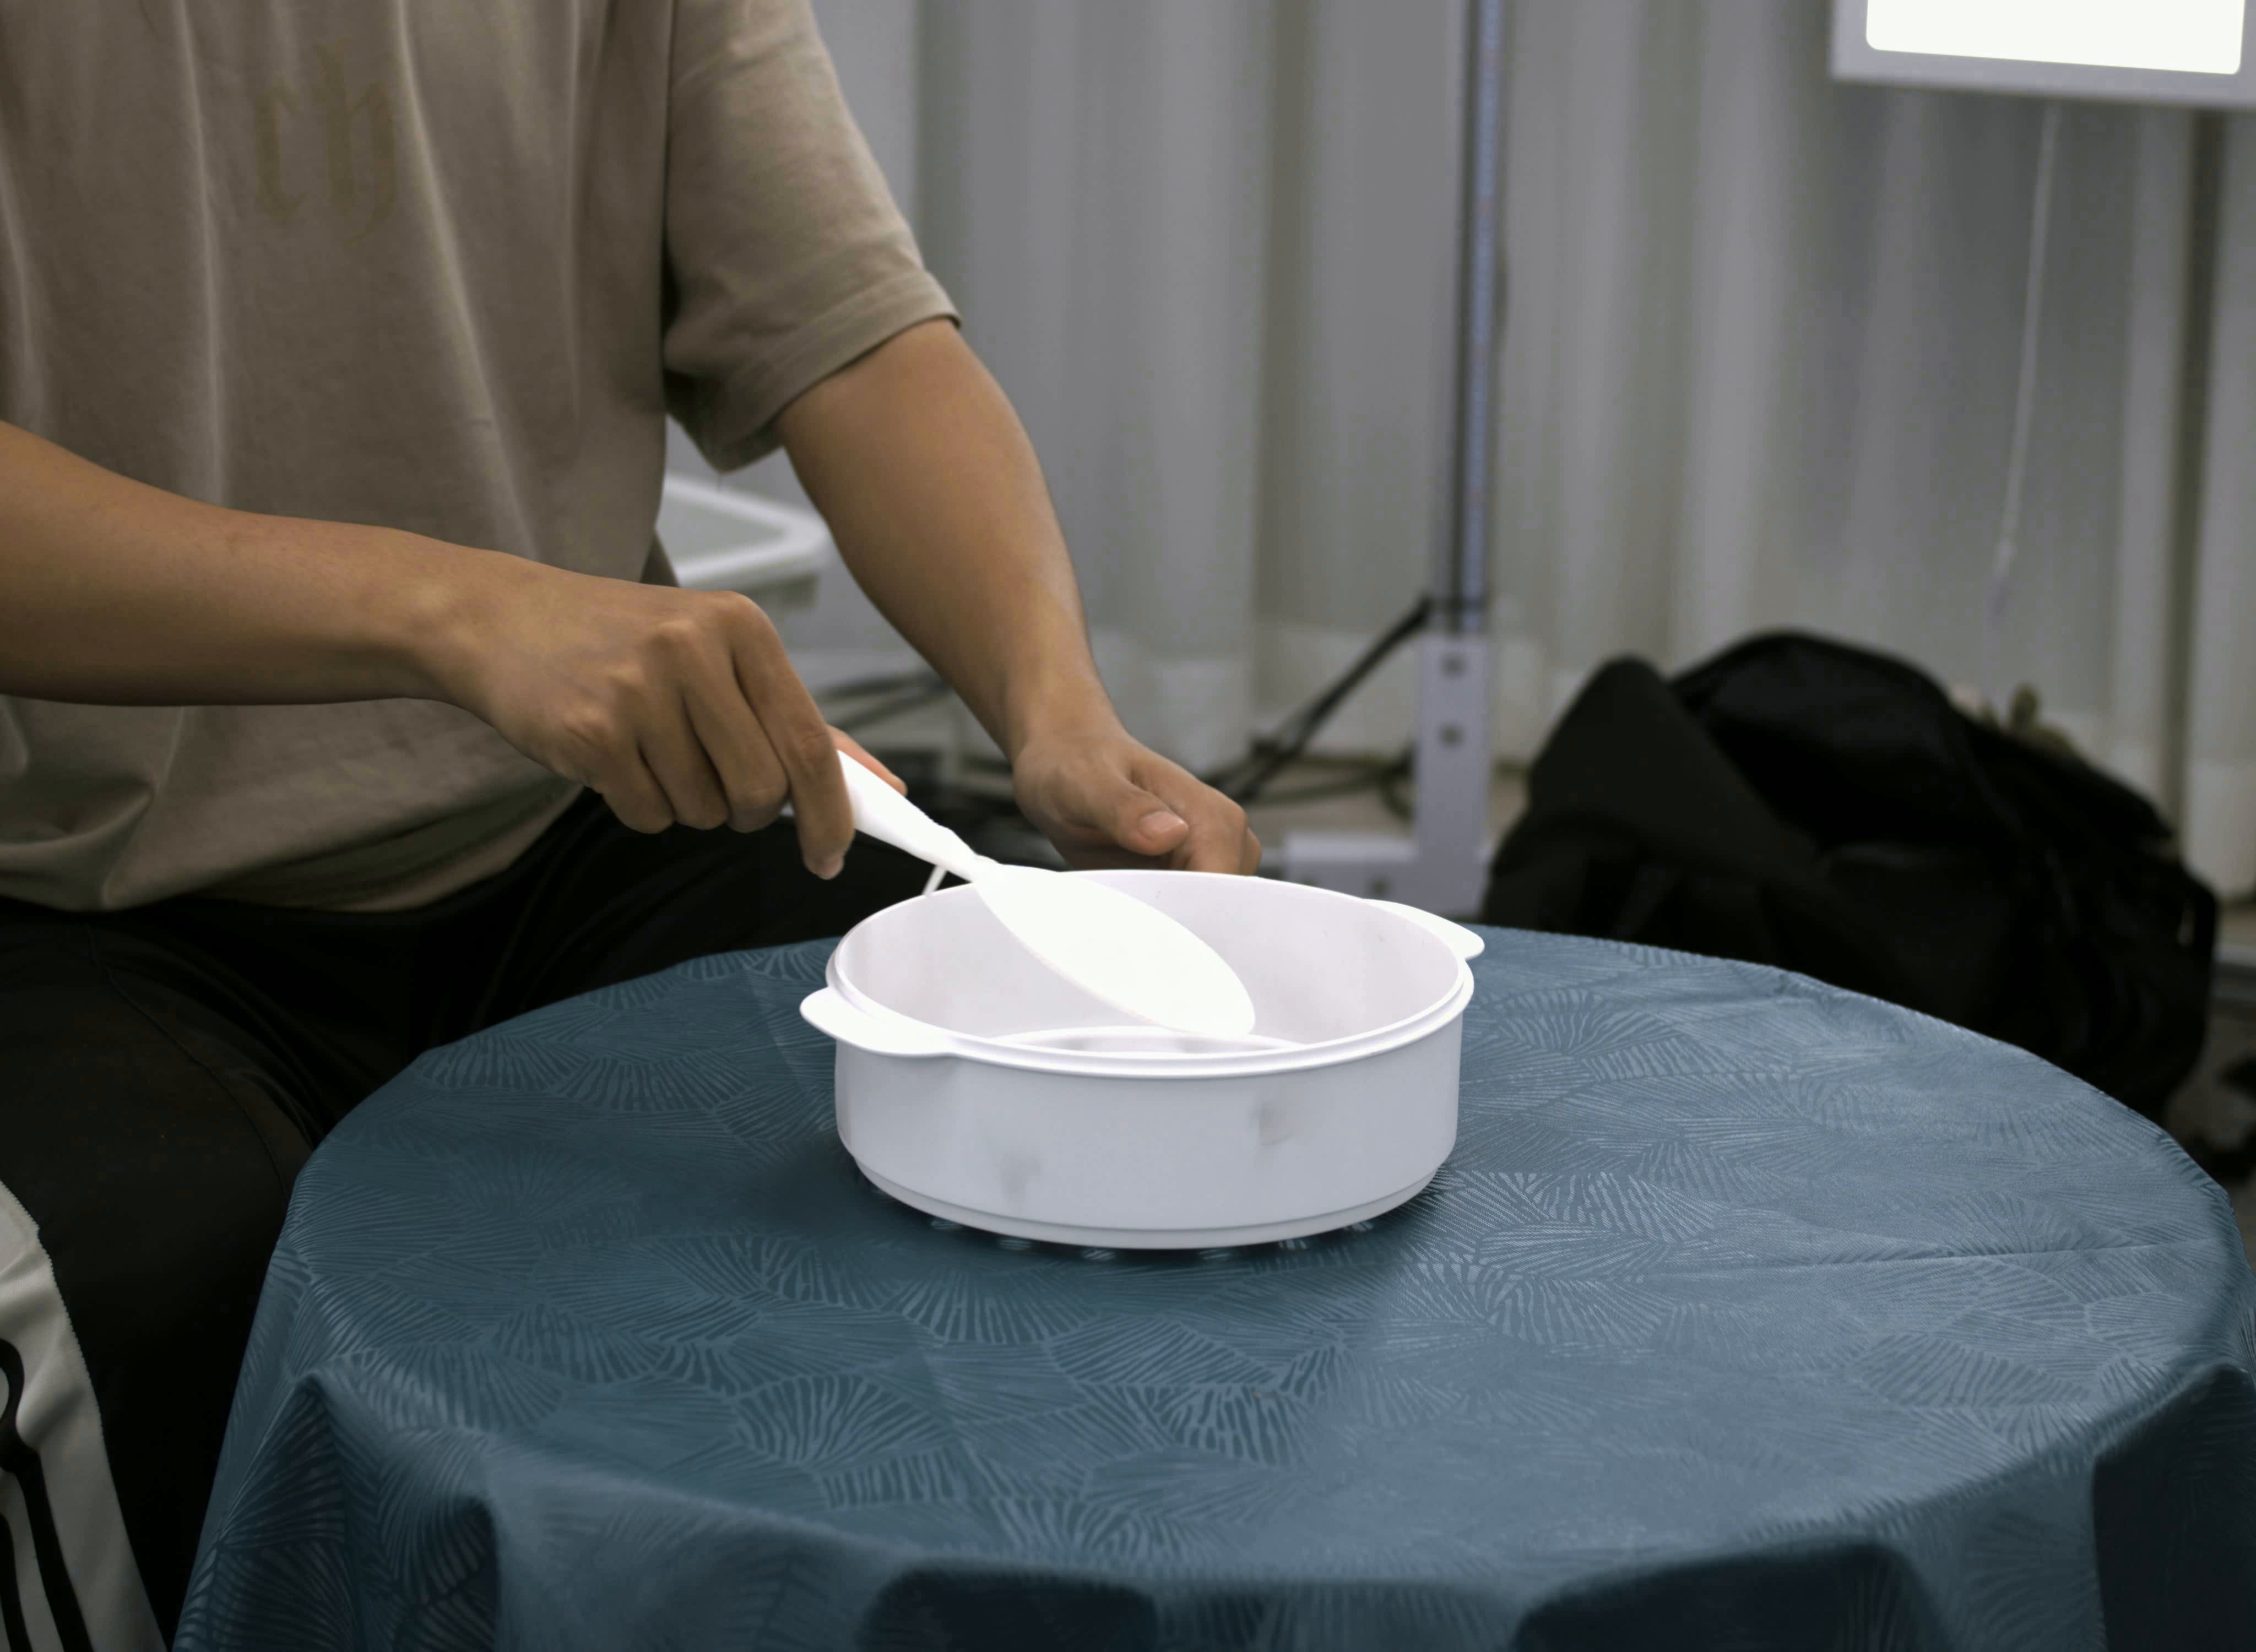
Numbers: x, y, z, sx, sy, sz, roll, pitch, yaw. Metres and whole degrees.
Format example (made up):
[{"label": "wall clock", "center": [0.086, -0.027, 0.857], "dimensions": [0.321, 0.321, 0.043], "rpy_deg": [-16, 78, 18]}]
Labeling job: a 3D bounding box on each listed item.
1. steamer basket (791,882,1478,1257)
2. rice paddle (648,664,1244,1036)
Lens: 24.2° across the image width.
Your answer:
[{"label": "steamer basket", "center": [0.003, 0.076, 1.638], "dimensions": [0.232, 0.070, 0.199], "rpy_deg": [-6, 17, -32]}, {"label": "rice paddle", "center": [-0.052, 0.010, 1.638], "dimensions": [0.205, 0.029, 0.068], "rpy_deg": [29, 26, -4]}]
